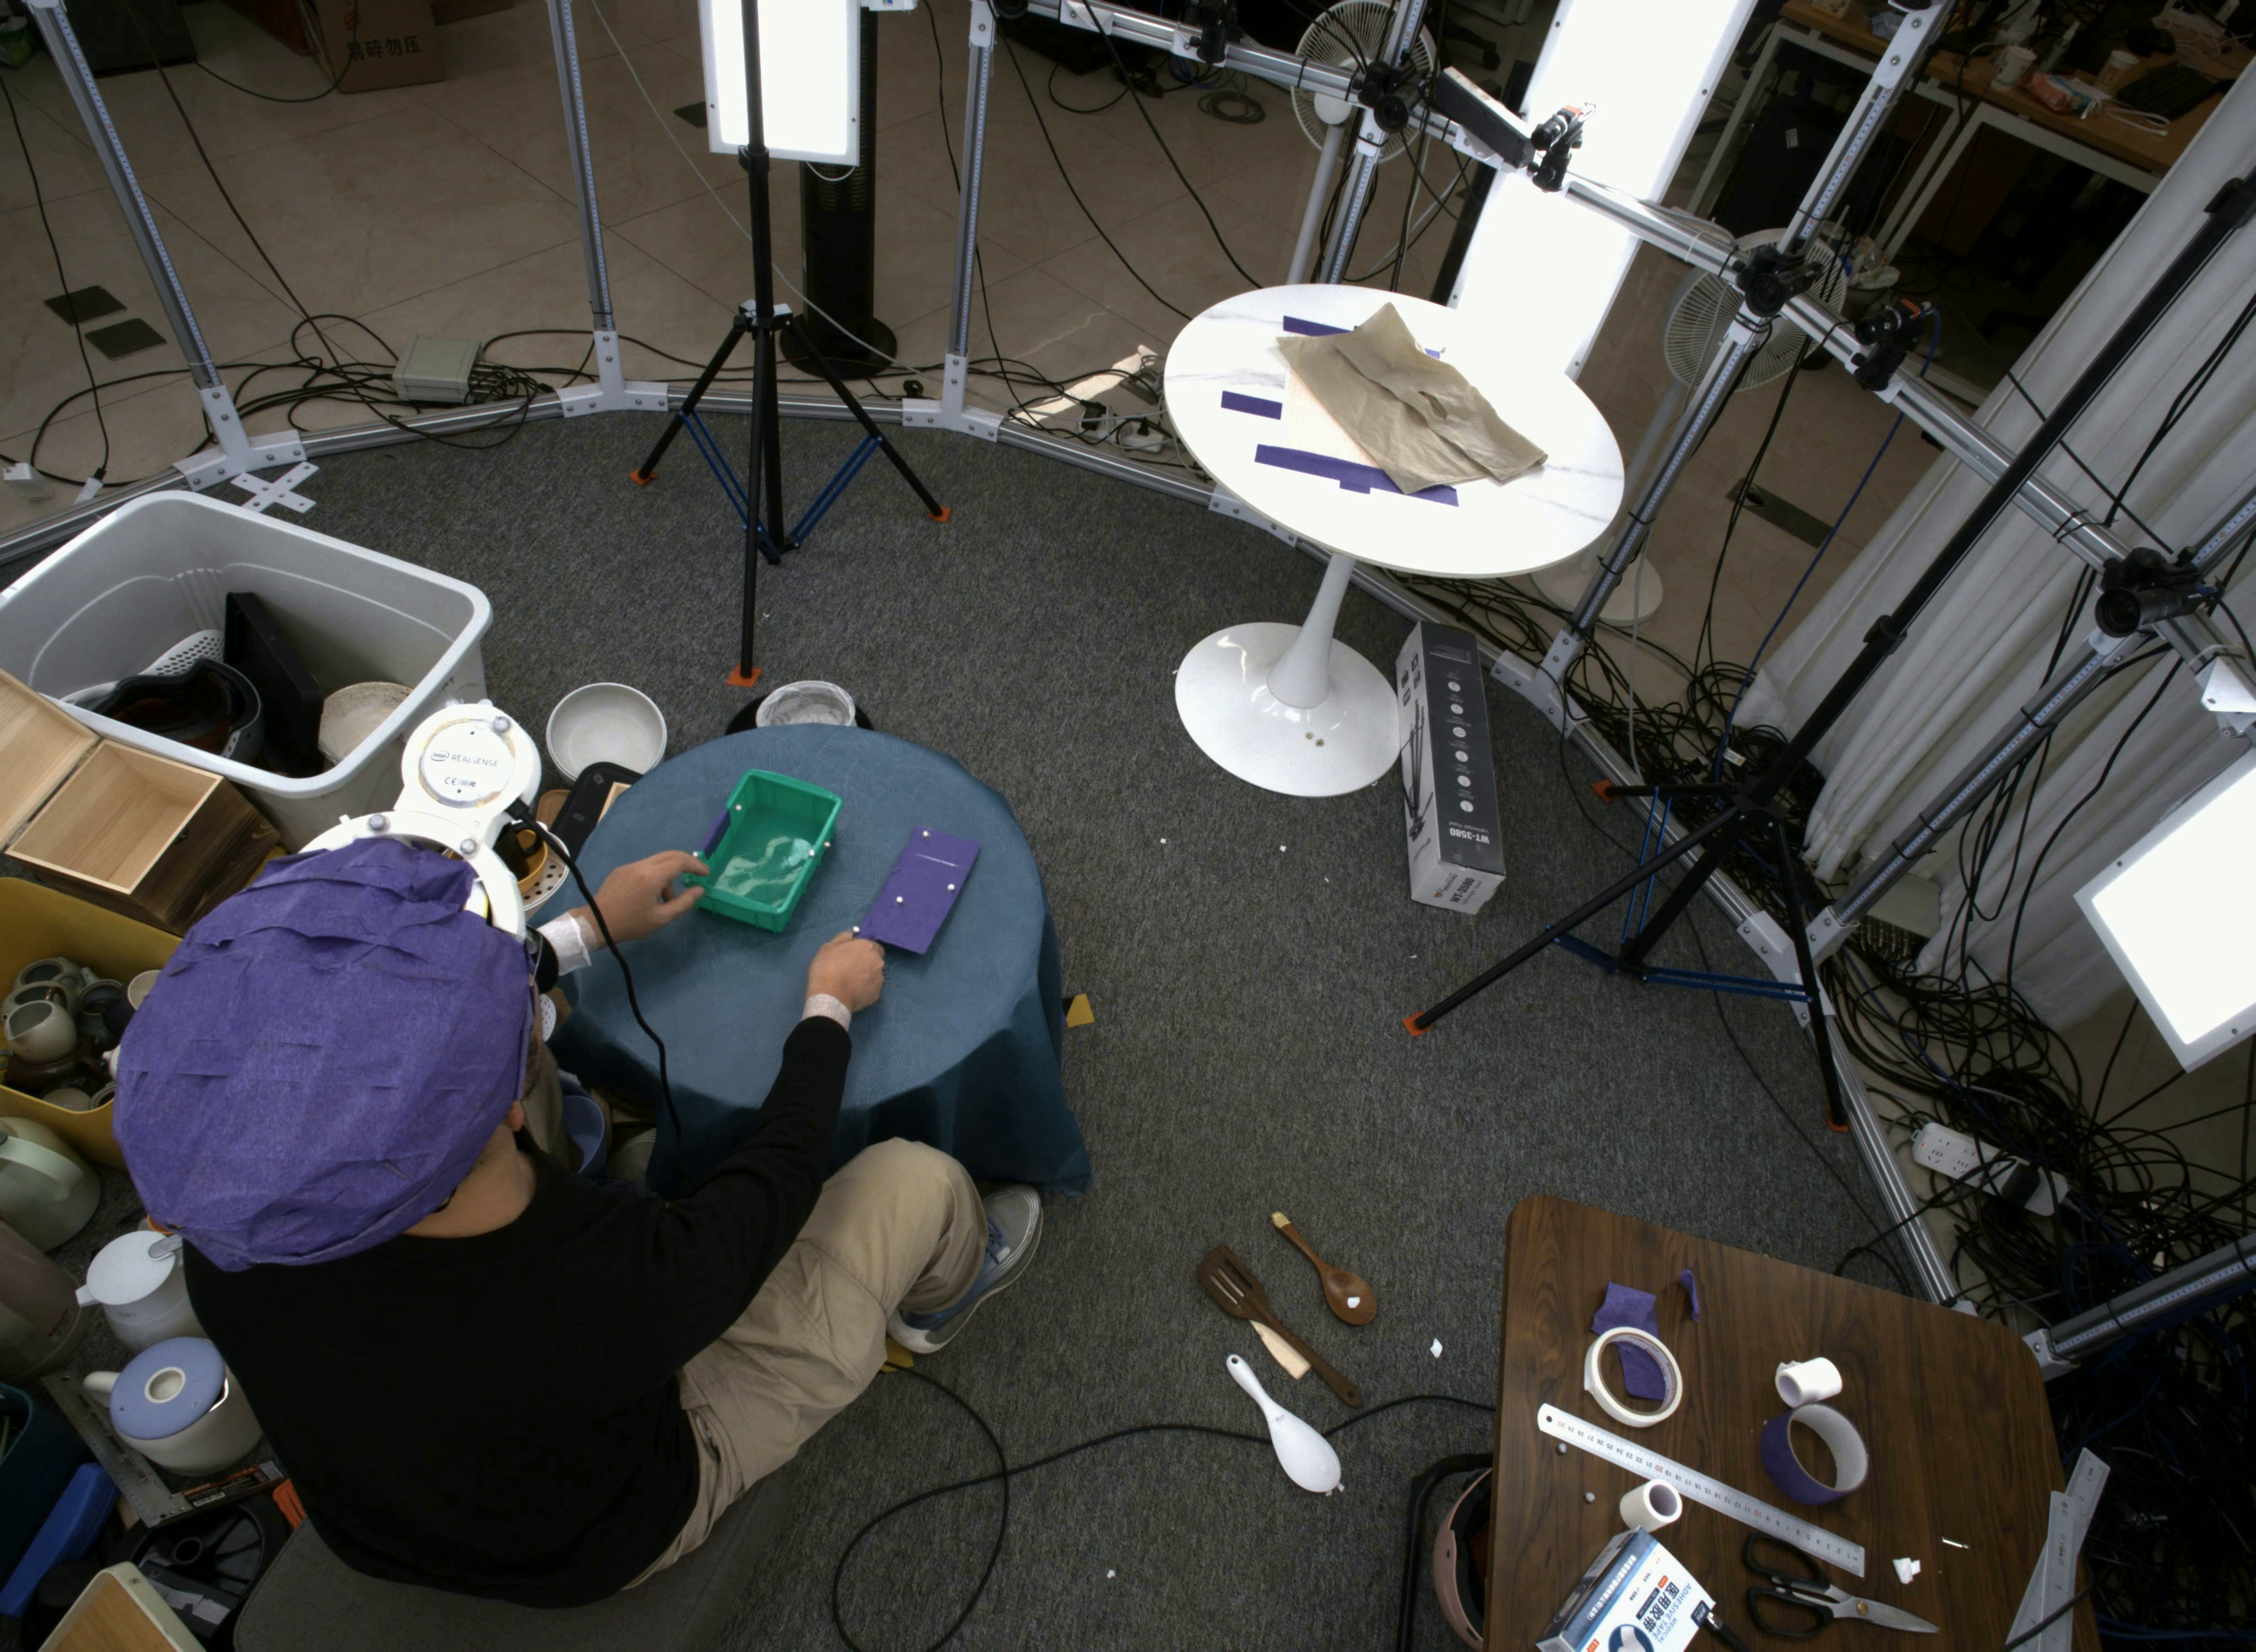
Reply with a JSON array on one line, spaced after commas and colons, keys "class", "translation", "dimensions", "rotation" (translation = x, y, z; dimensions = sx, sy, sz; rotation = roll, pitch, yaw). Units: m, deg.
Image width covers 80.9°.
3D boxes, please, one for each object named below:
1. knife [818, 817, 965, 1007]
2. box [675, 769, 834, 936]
[{"class": "knife", "translation": [-0.289, 0.104, 1.640], "dimensions": [0.102, 0.033, 0.311], "rotation": [17, 48, 3]}, {"class": "box", "translation": [-0.469, 0.034, 1.641], "dimensions": [0.137, 0.066, 0.208], "rotation": [16, 53, 0]}]
